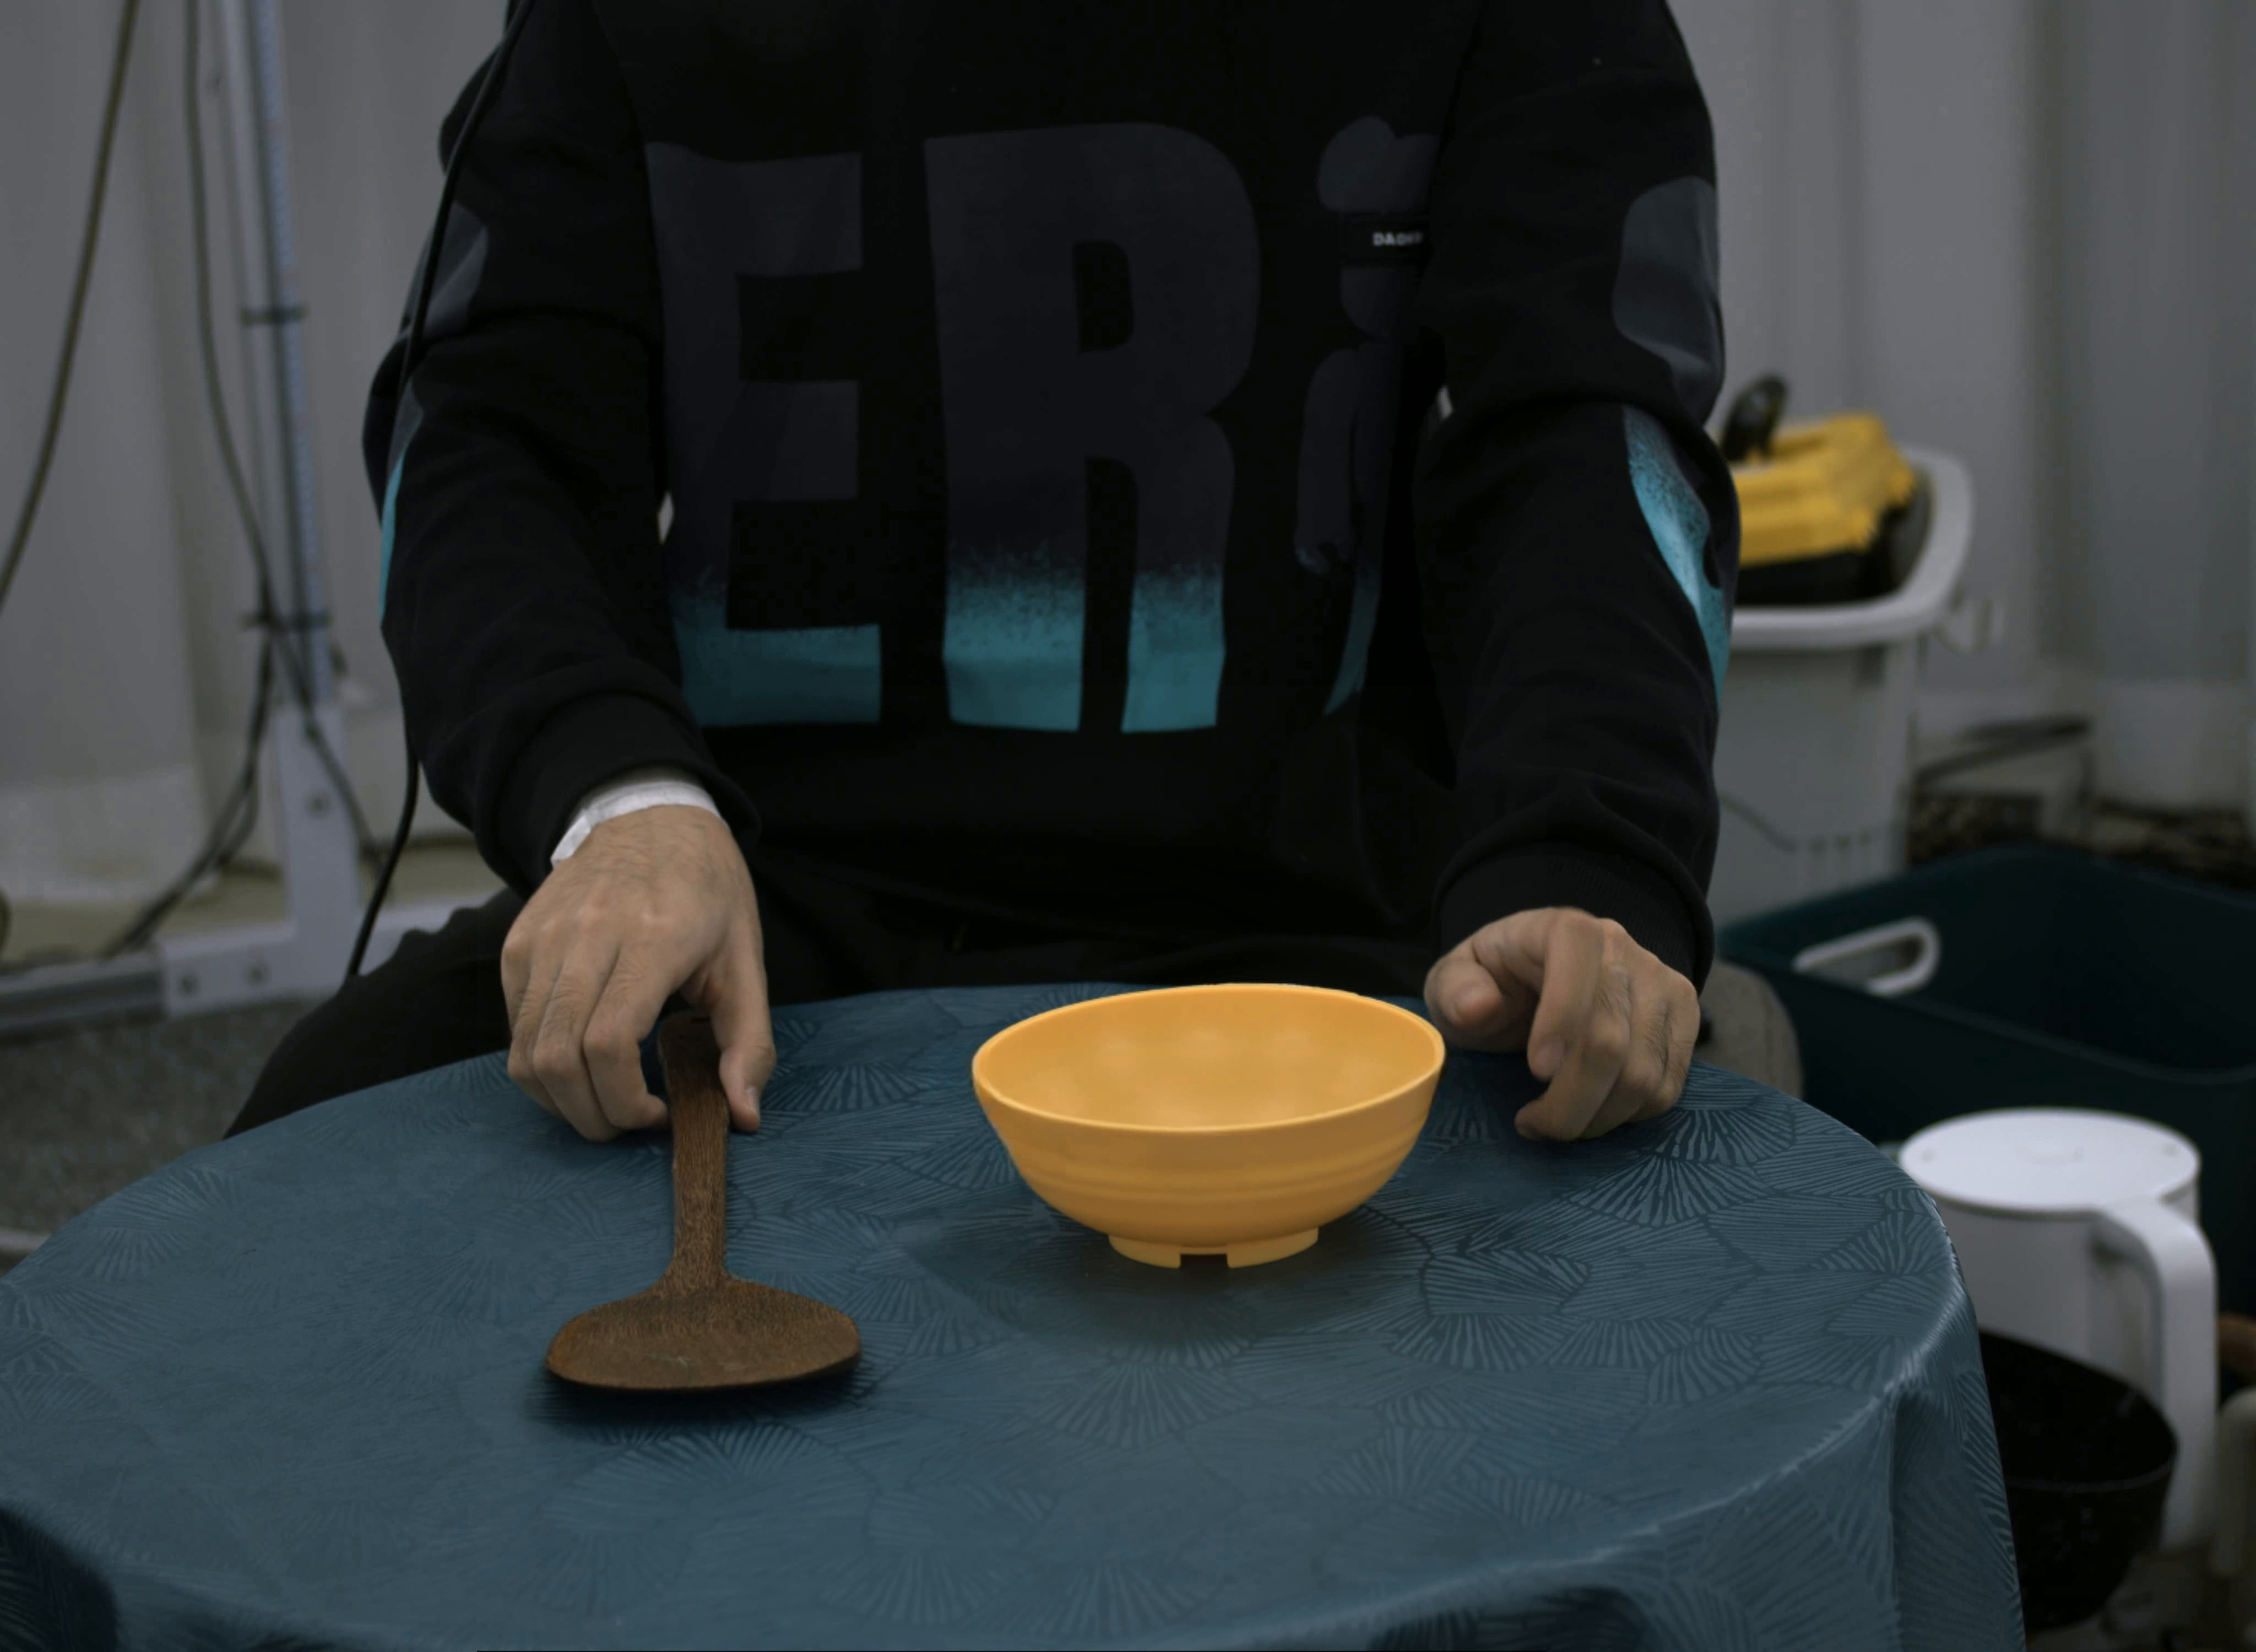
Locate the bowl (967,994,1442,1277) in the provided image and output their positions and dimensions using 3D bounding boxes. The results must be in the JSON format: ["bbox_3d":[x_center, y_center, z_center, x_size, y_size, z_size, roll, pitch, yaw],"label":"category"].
[{"bbox_3d":[0.023,0.099,1.664,0.145,0.060,0.146,0,14,0],"label":"bowl"}]

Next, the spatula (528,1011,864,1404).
[{"bbox_3d":[-0.135,0.113,1.718,0.096,0.016,0.389,-3,15,-4],"label":"spatula"}]
